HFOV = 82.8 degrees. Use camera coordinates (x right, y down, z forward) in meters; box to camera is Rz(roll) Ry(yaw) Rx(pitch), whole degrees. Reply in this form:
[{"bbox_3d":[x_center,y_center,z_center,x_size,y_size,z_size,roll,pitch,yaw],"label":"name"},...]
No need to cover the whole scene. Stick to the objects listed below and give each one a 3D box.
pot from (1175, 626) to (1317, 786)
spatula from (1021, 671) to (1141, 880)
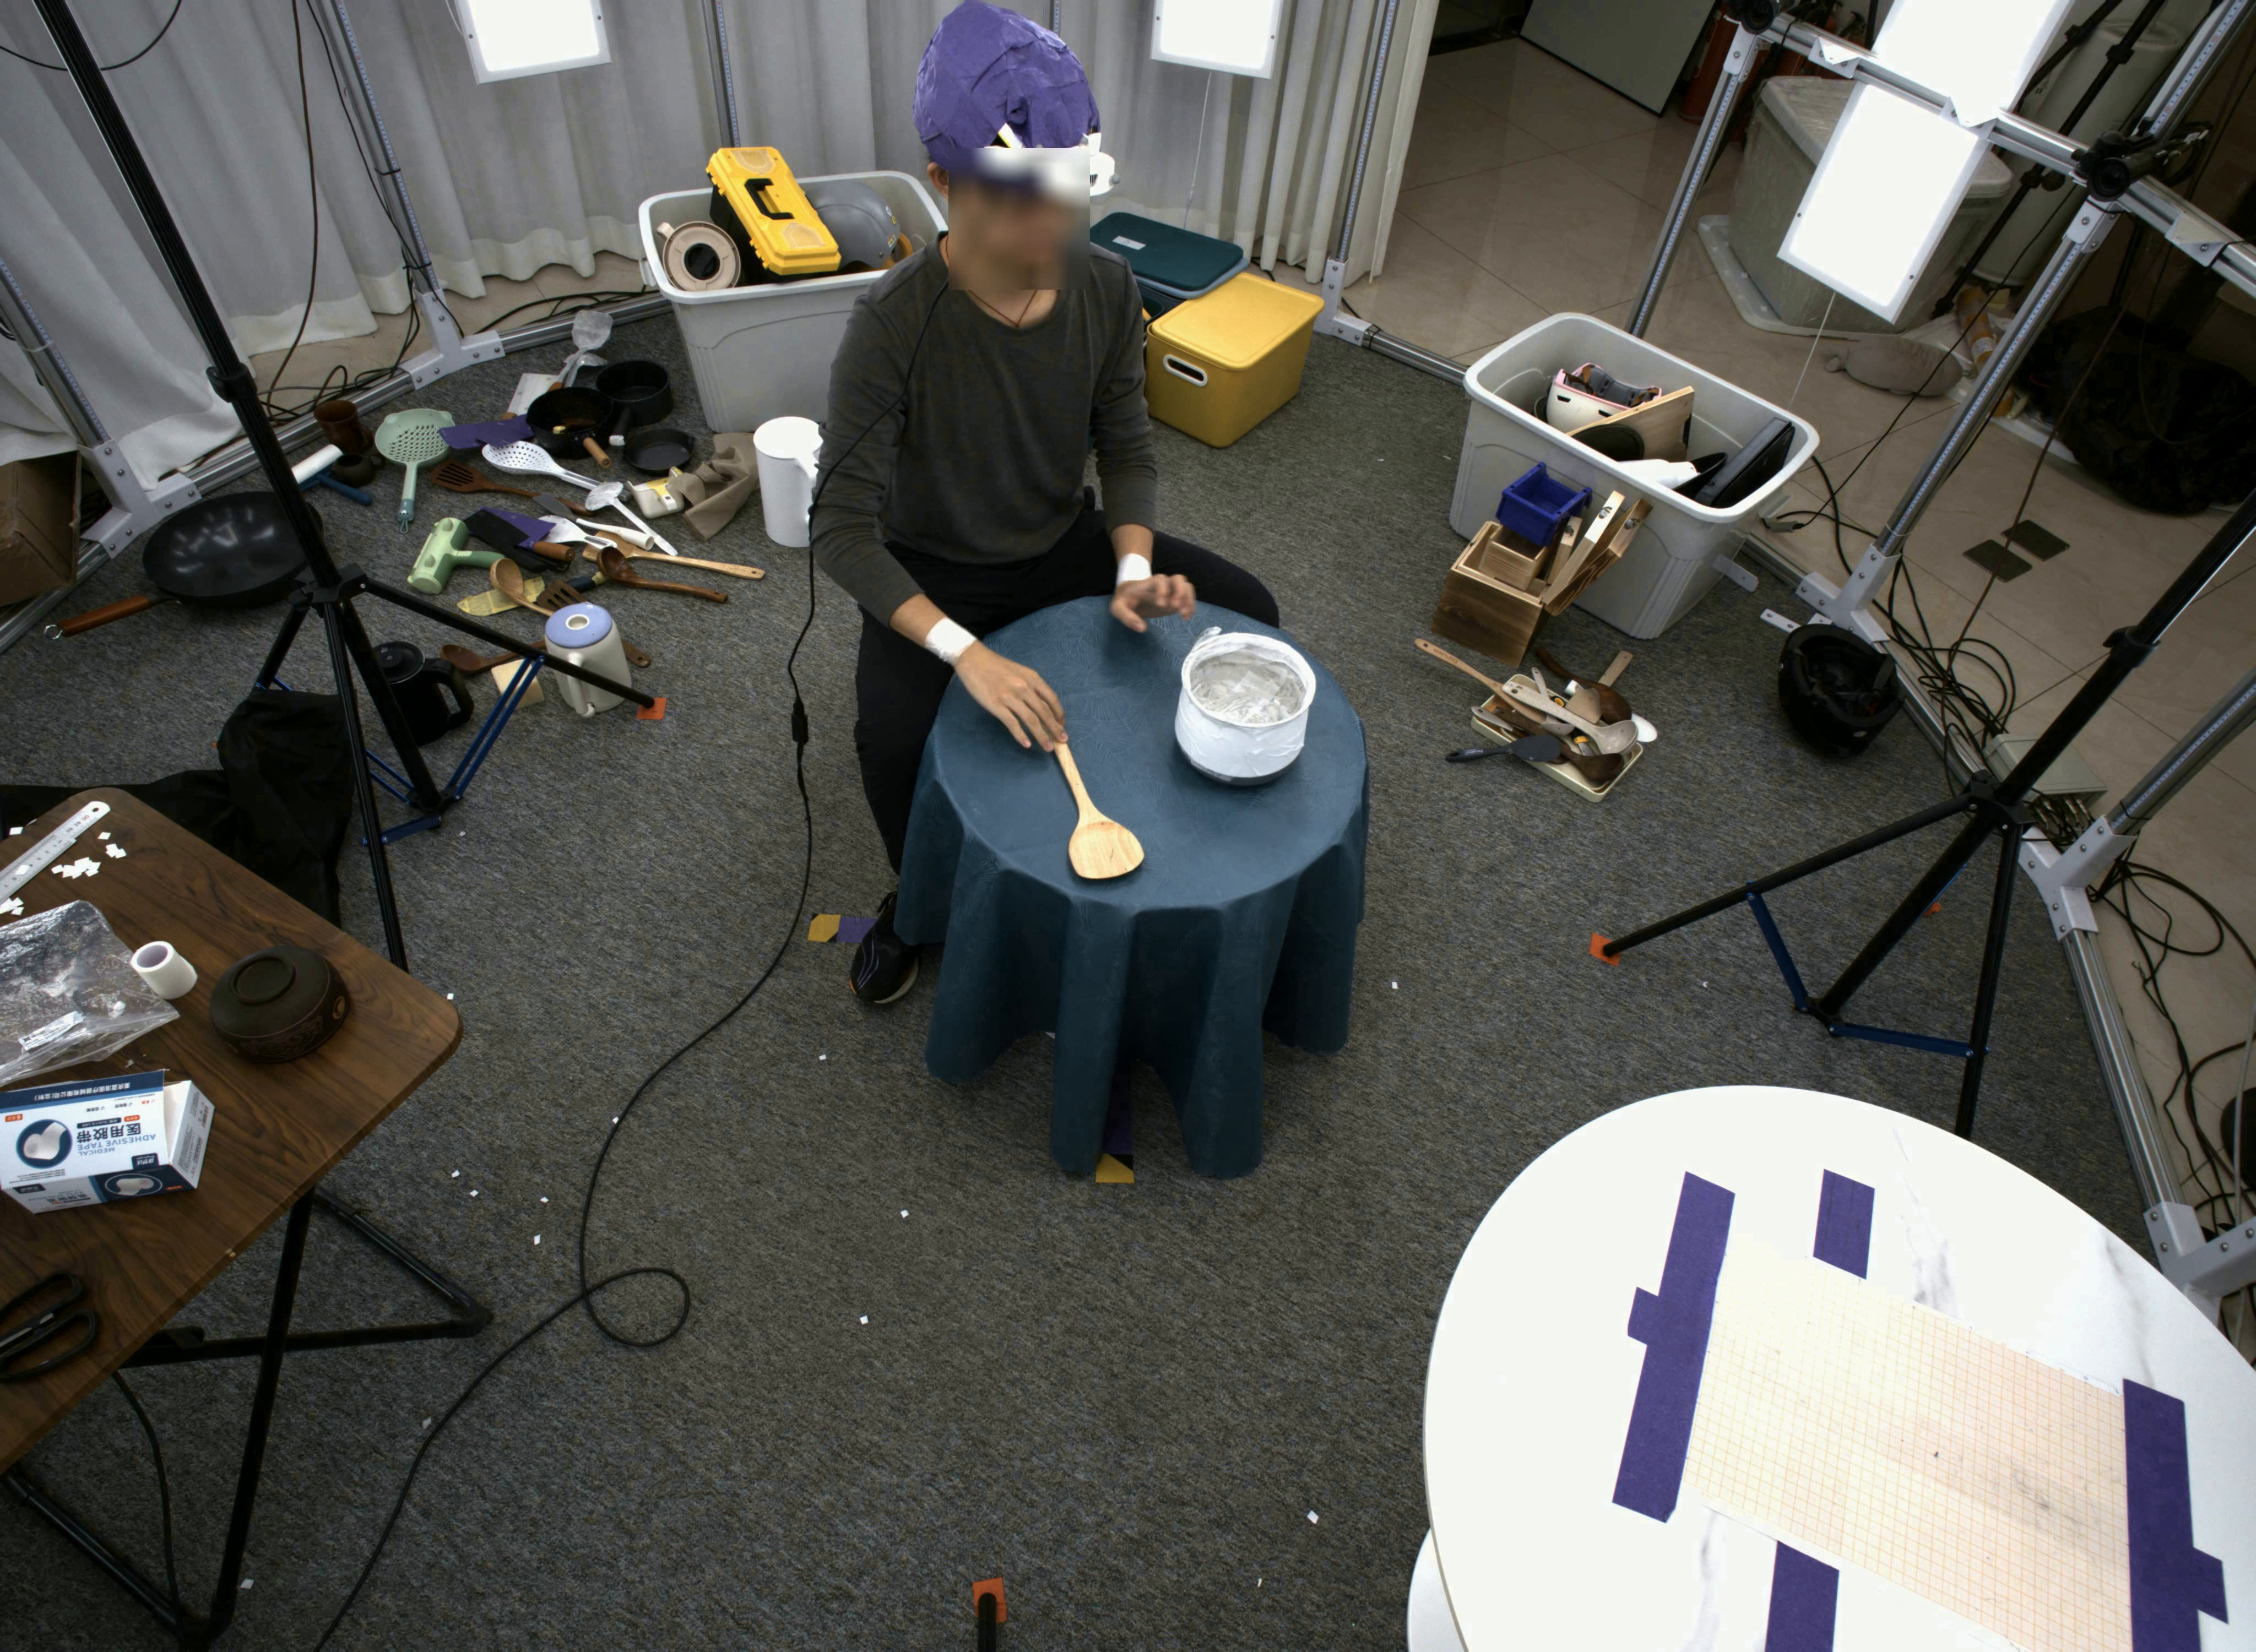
[{"bbox_3d":[0.142,-0.173,1.738,0.179,0.133,0.239,-17,53,-18],"label":"pot"},{"bbox_3d":[-0.084,-0.077,1.717,0.096,0.018,0.400,-11,51,-16],"label":"spatula"}]
